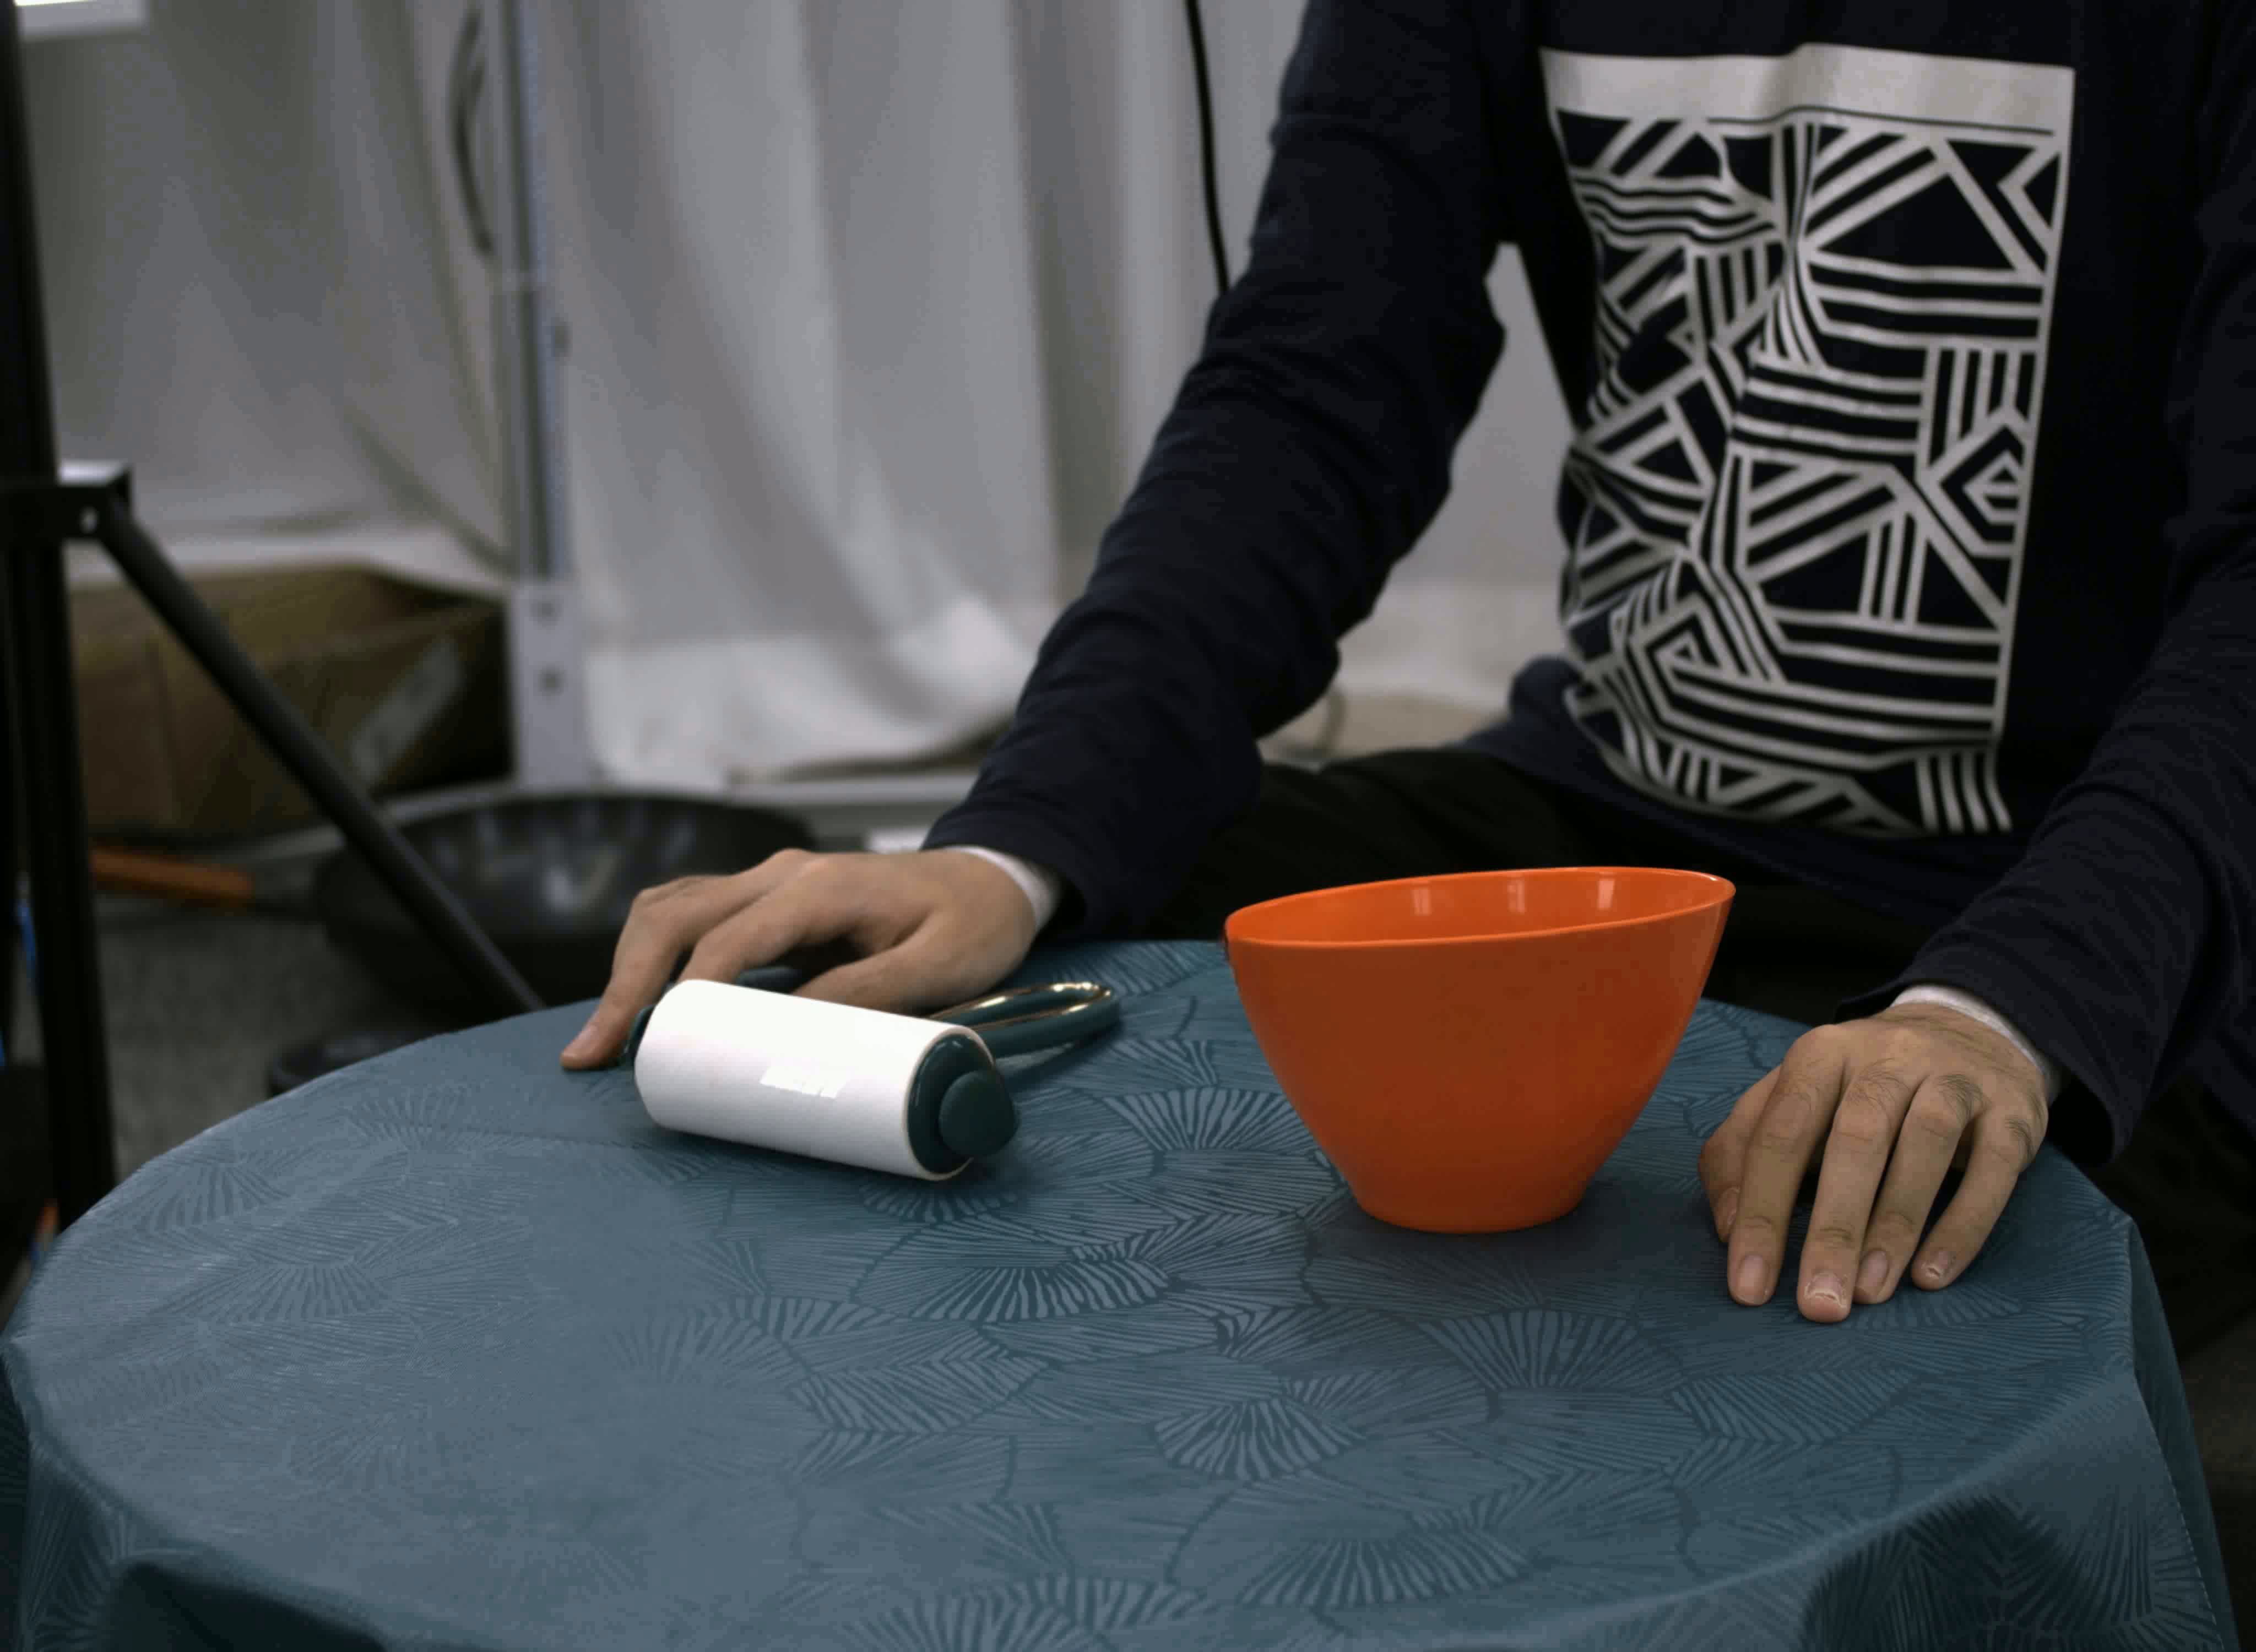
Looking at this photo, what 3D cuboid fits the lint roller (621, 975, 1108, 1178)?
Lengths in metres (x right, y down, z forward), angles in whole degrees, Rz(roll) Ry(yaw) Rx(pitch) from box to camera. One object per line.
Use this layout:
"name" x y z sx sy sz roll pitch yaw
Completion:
"lint roller" -0.059 0.063 1.658 0.137 0.048 0.176 8 16 33

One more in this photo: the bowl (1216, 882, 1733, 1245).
"bowl" 0.099 0.065 1.522 0.147 0.105 0.148 -1 13 -1
